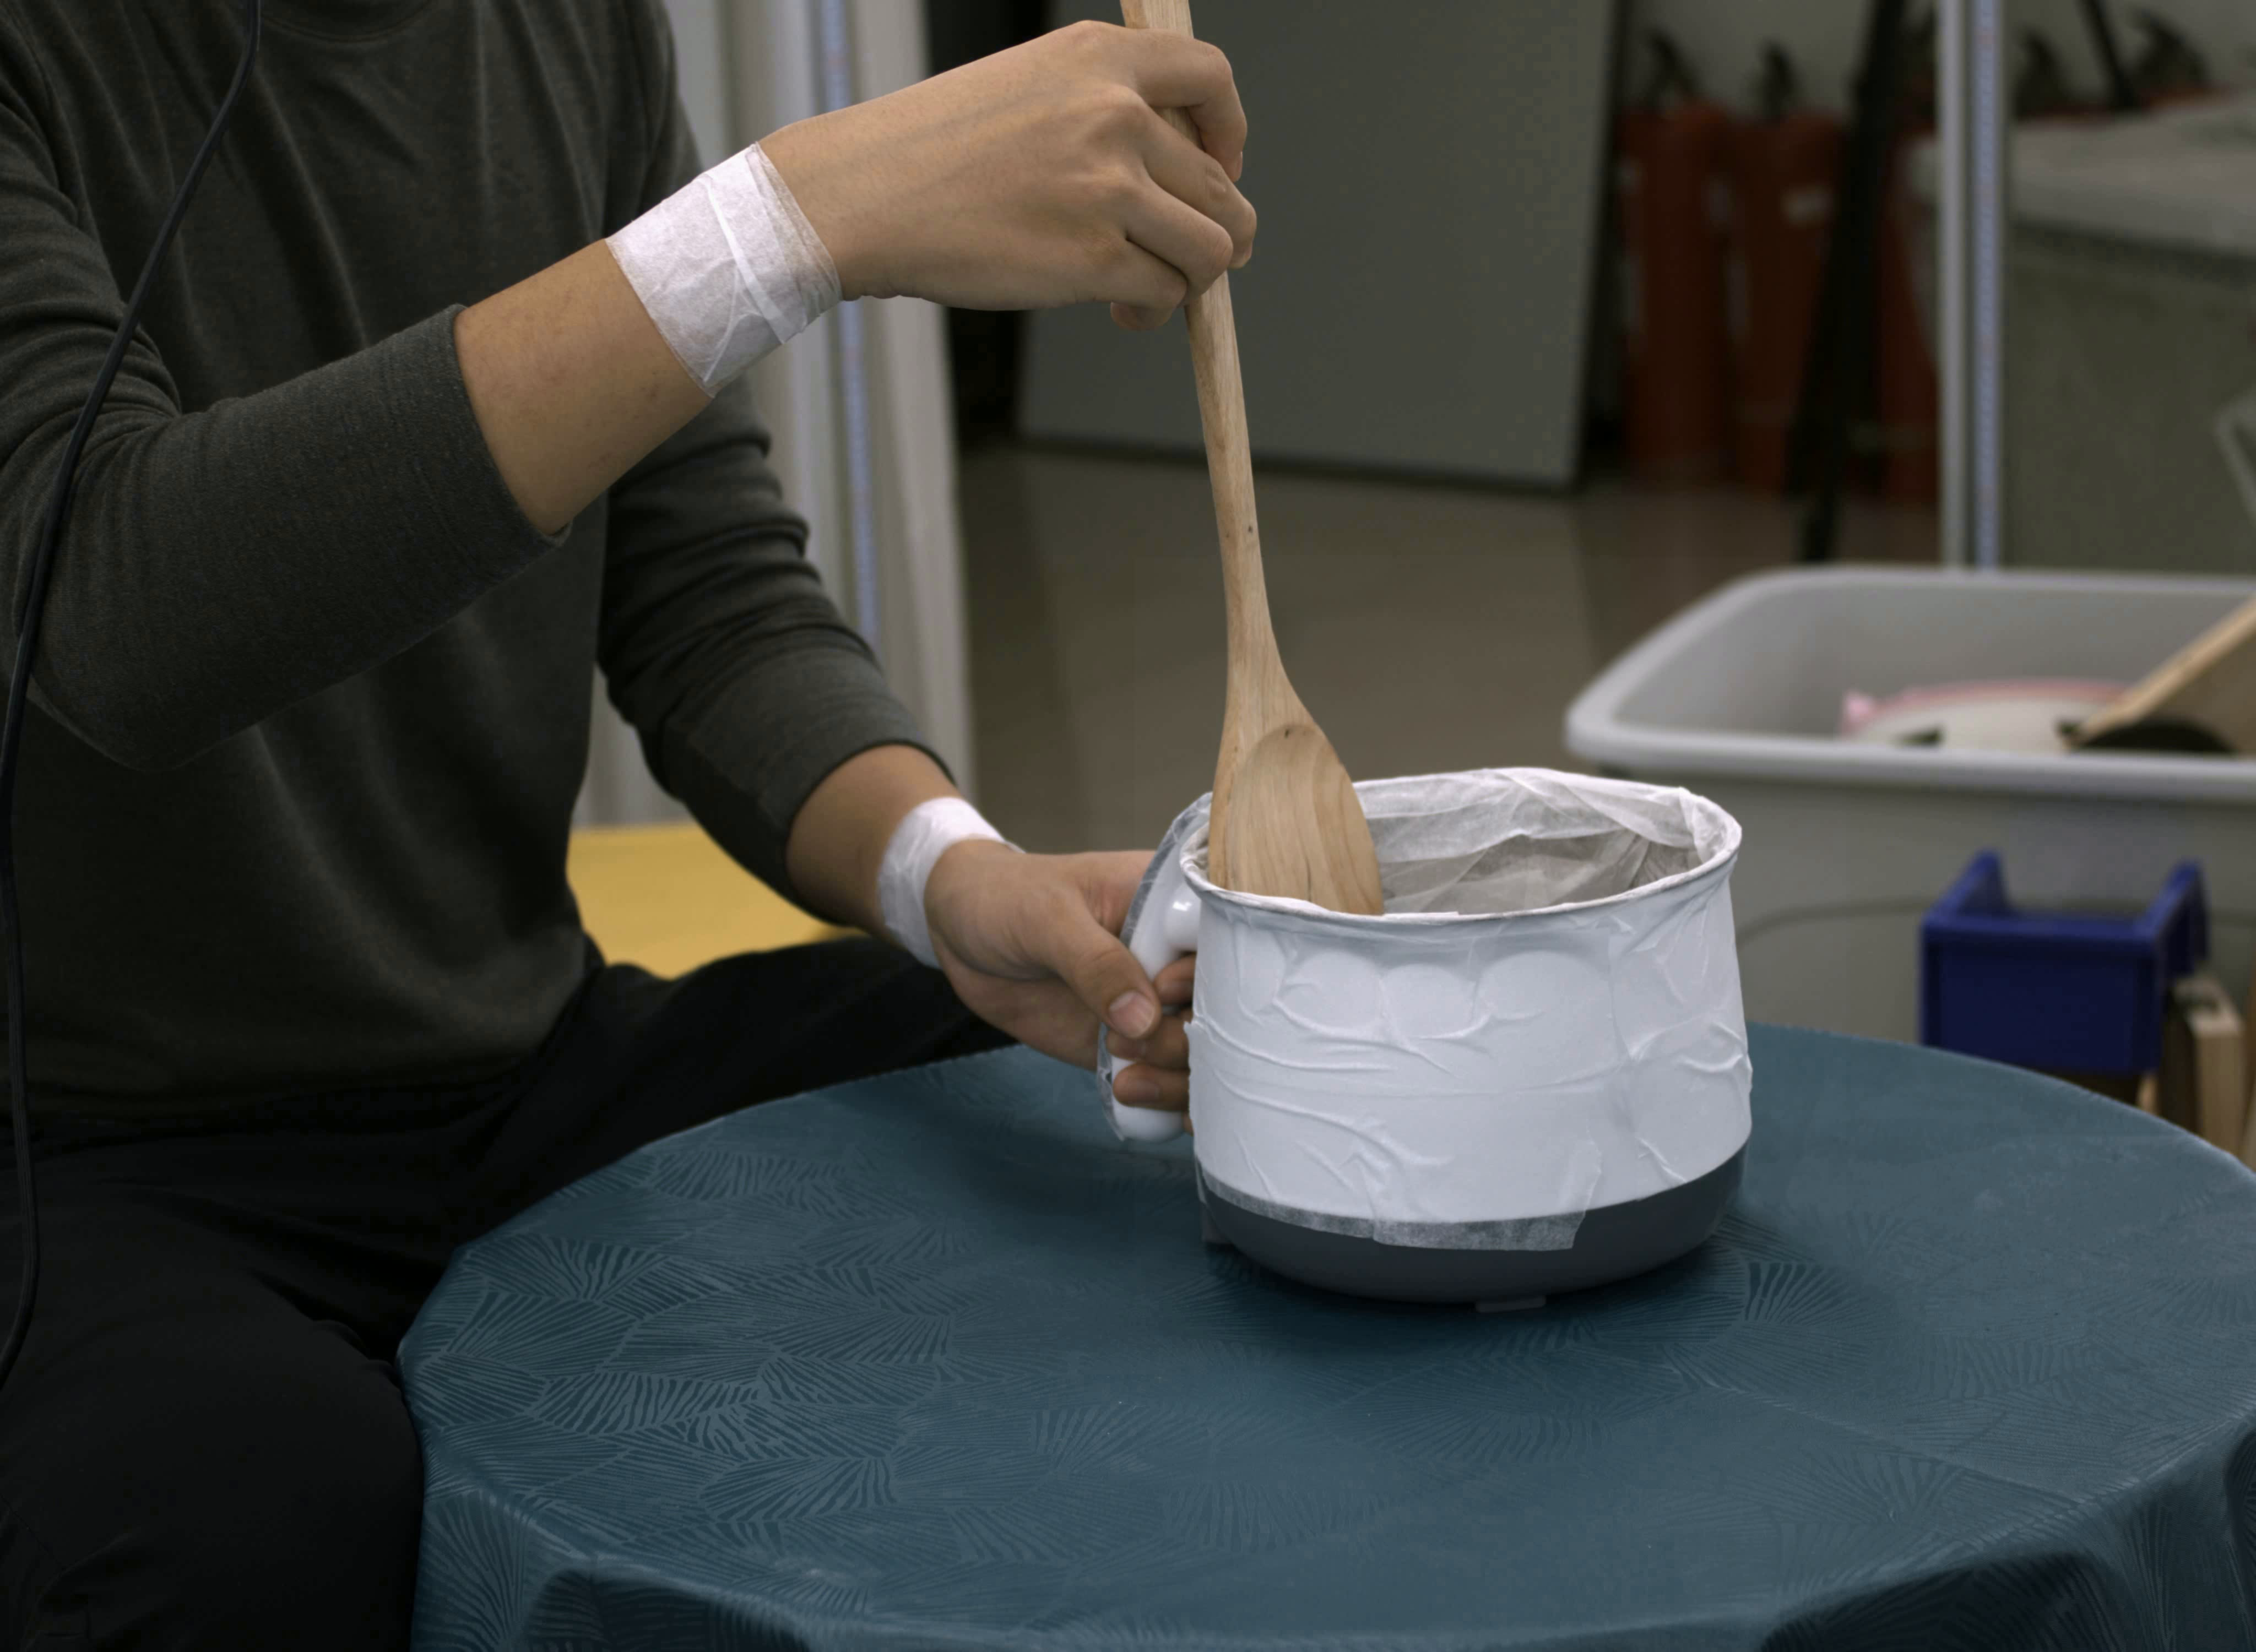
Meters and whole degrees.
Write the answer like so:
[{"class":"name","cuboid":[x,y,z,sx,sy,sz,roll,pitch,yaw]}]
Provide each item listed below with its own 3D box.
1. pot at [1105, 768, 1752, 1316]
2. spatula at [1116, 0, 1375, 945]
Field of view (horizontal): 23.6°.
[{"class":"pot","cuboid":[0.085,0.063,1.703,0.235,0.138,0.175,6,17,39]},{"class":"spatula","cuboid":[0.025,-0.125,1.655,0.018,0.394,0.094,0,18,30]}]
